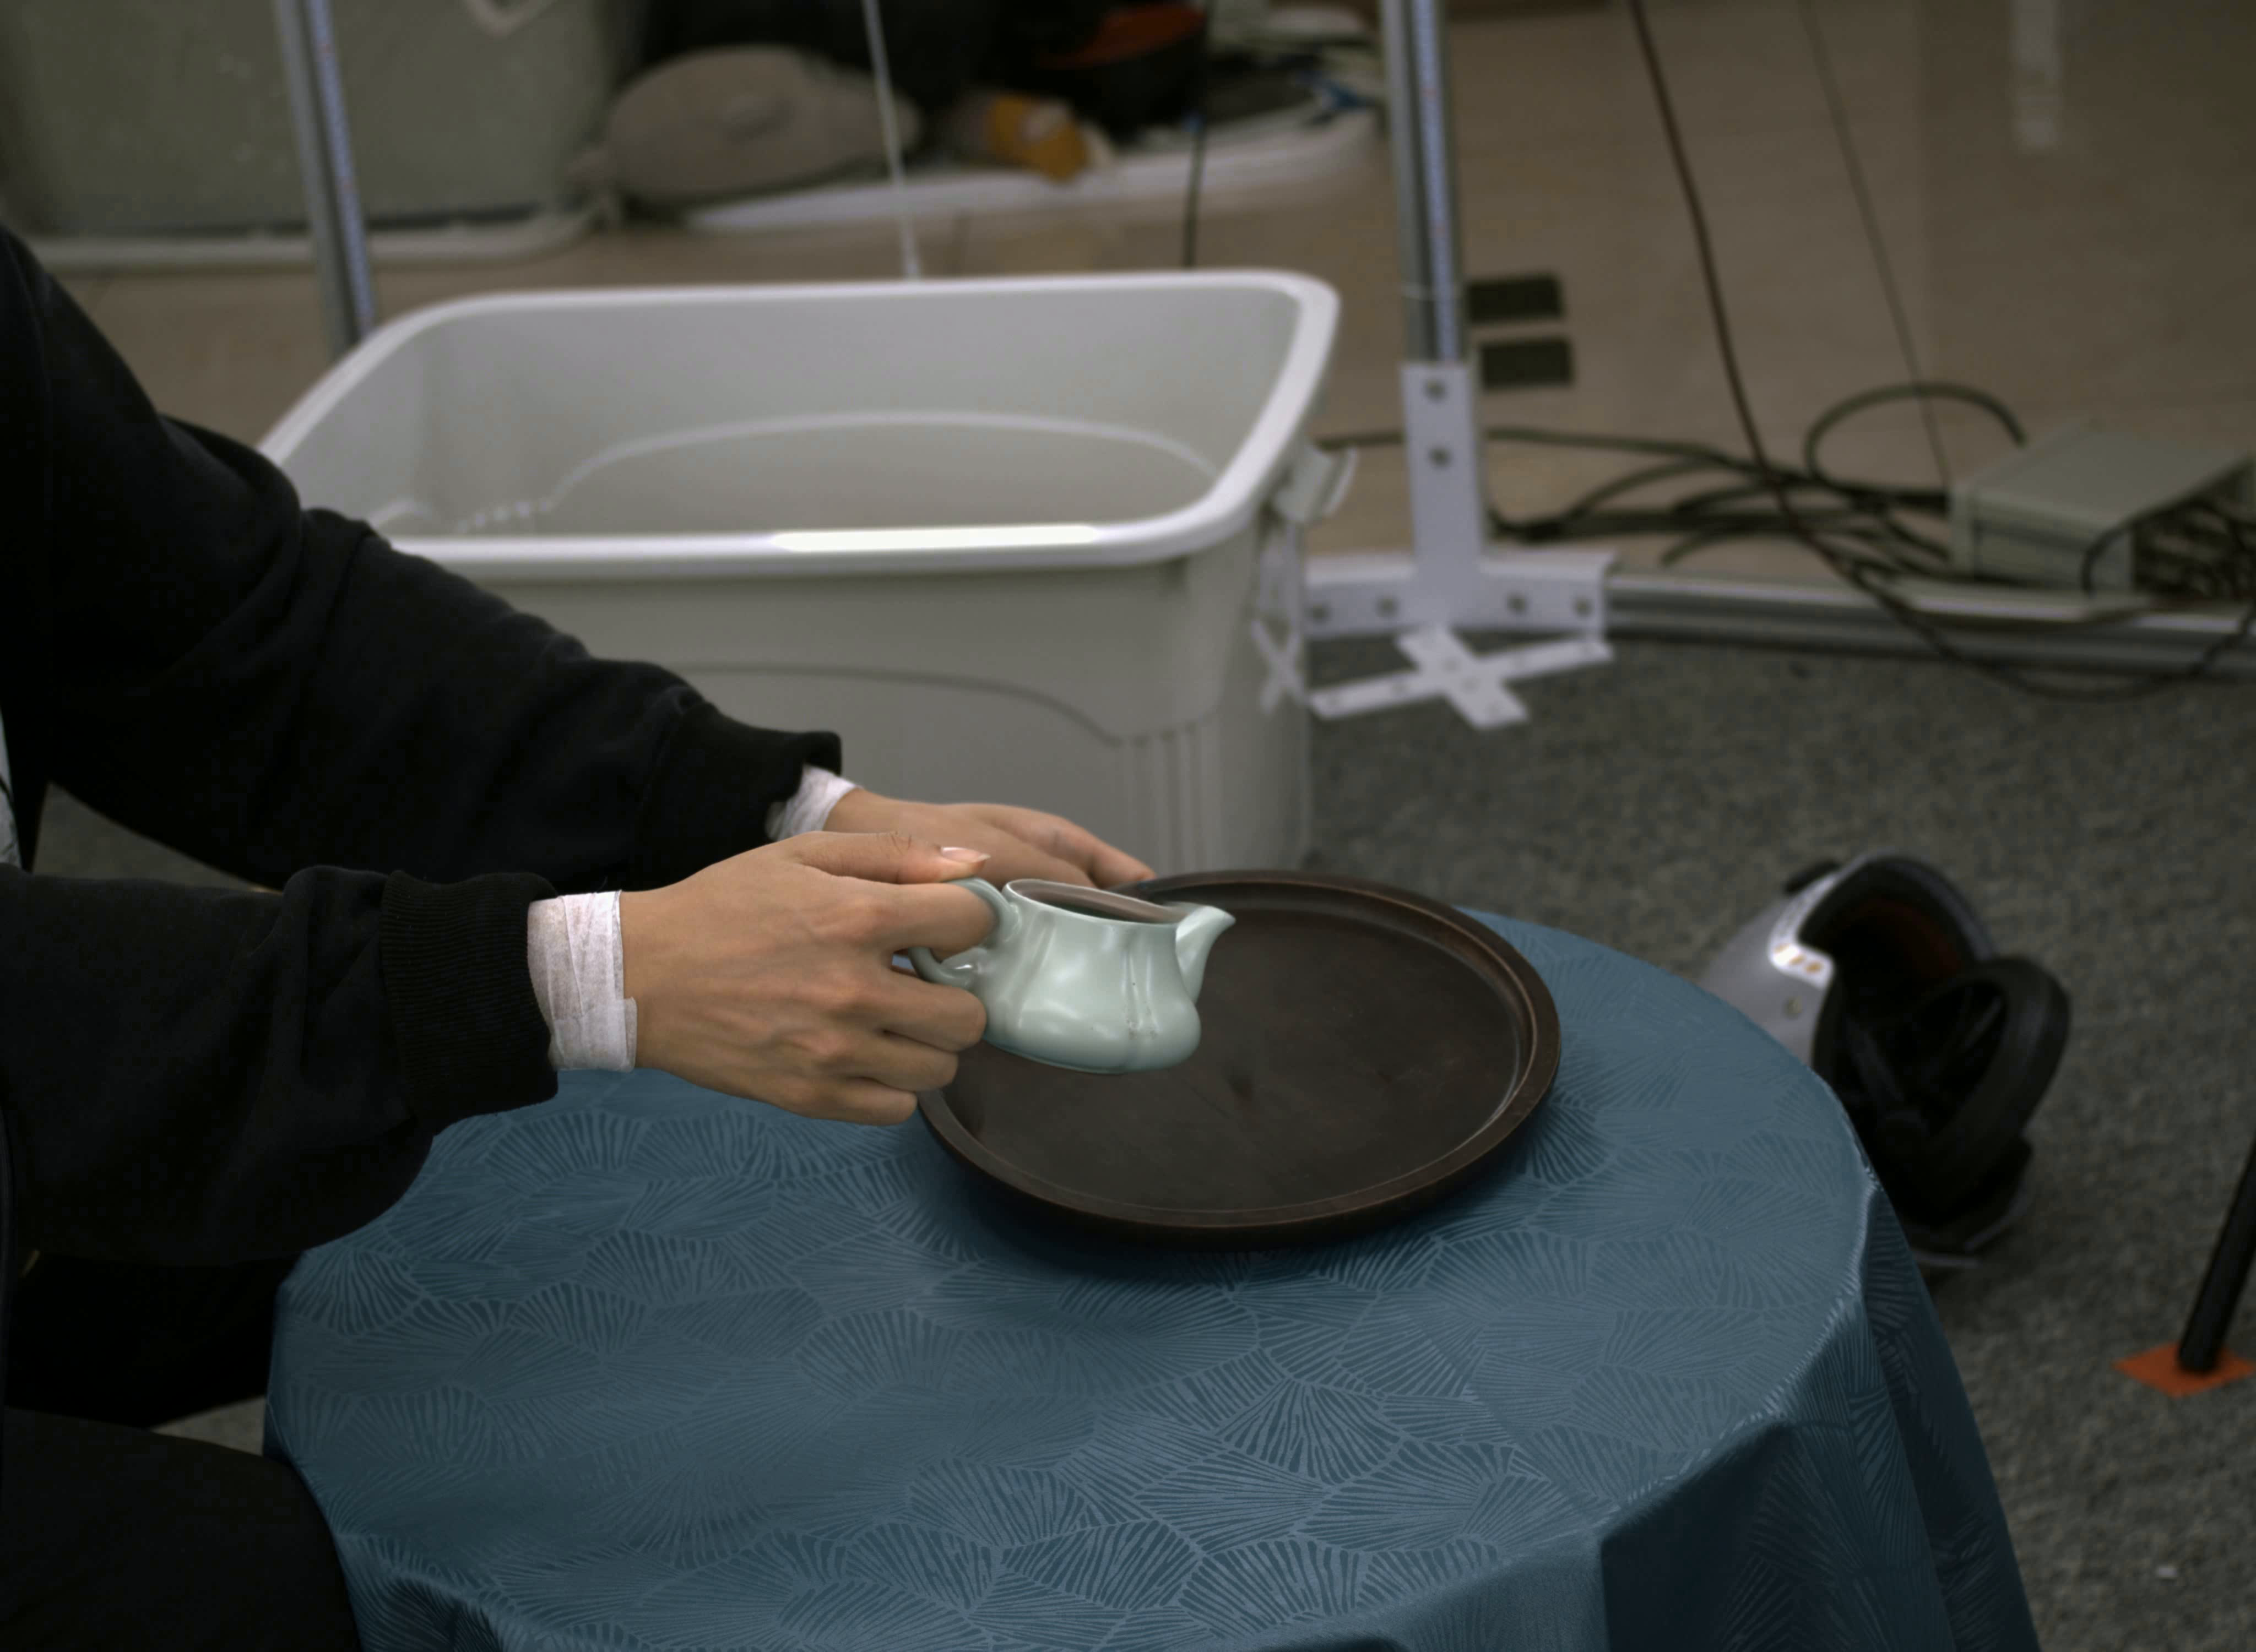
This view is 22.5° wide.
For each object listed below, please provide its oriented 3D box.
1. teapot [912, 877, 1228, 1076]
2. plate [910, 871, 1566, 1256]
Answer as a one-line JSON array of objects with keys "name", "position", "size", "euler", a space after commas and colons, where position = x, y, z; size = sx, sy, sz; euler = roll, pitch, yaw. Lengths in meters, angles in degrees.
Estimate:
[{"name": "teapot", "position": [-0.023, 0.052, 2.004], "size": [0.137, 0.062, 0.095], "euler": [6, 13, -39]}, {"name": "plate", "position": [0.042, 0.090, 2.185], "size": [0.254, 0.029, 0.250], "euler": [-2, 32, 1]}]
